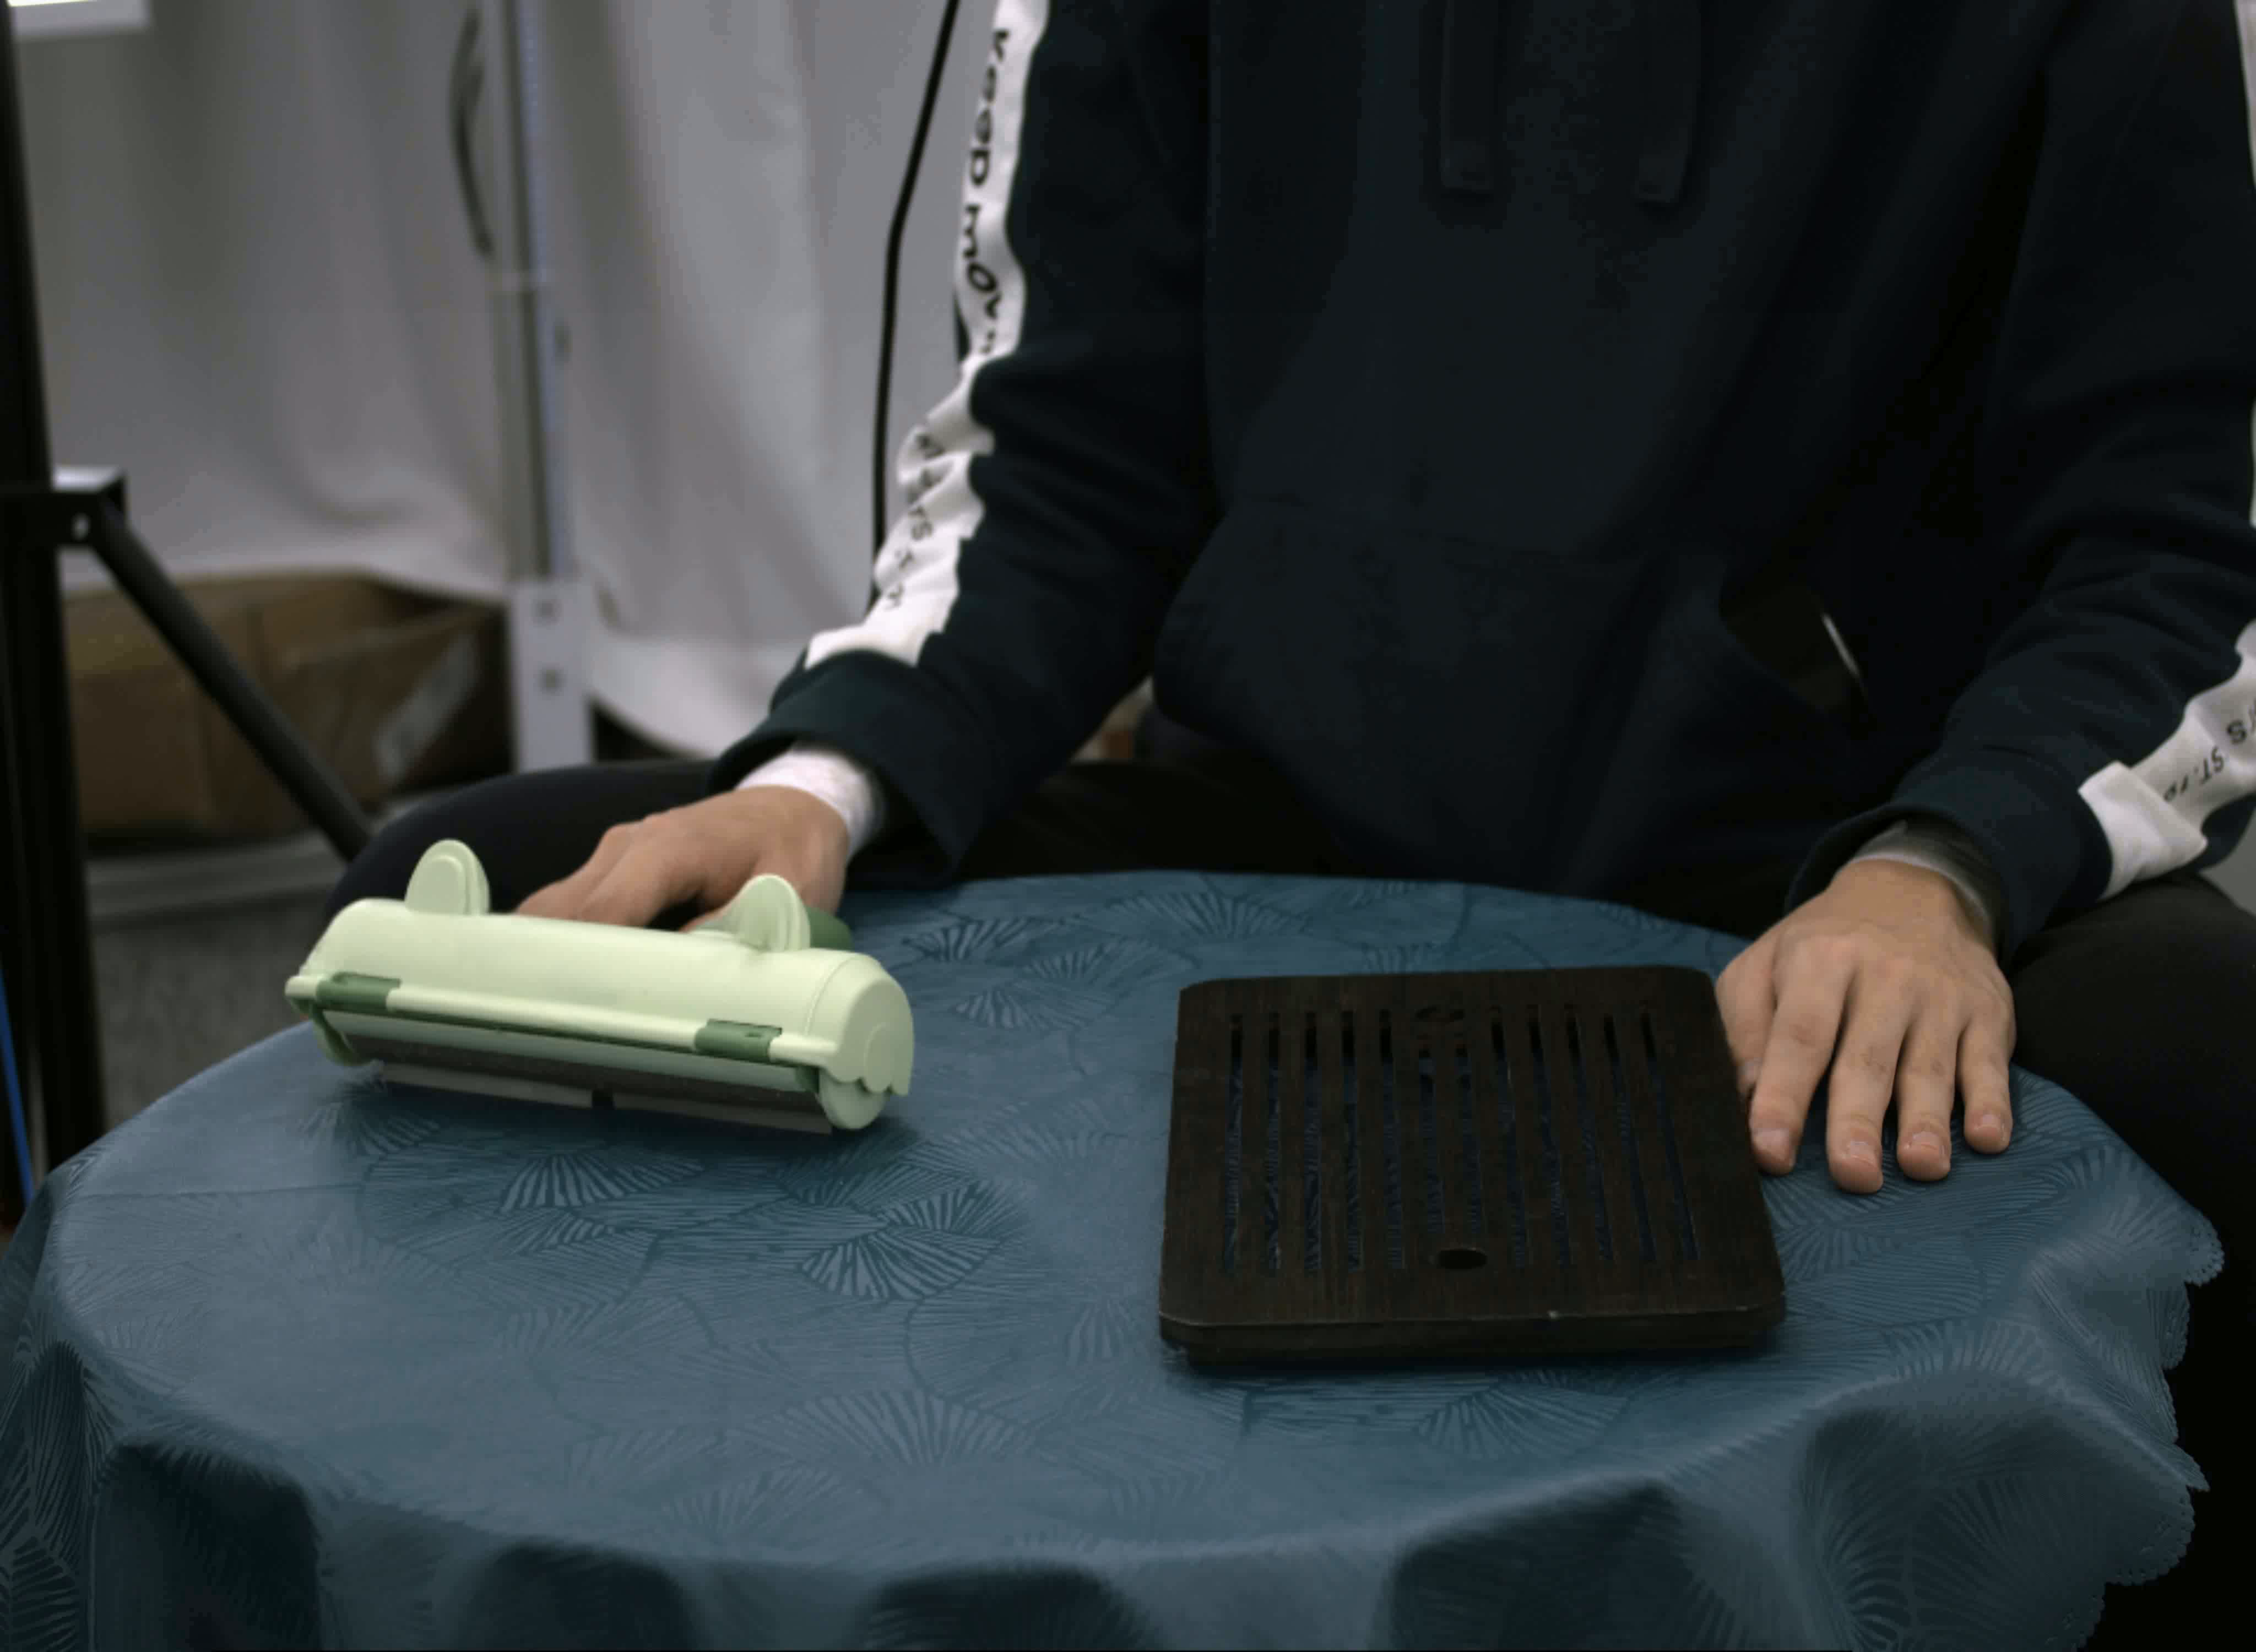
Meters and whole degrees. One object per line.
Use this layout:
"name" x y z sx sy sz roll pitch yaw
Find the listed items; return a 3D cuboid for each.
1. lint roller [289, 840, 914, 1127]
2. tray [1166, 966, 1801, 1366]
"lint roller" -0.139 0.034 1.697 0.202 0.082 0.180 5 21 27
"tray" 0.099 0.097 1.547 0.170 0.018 0.306 -2 16 3
